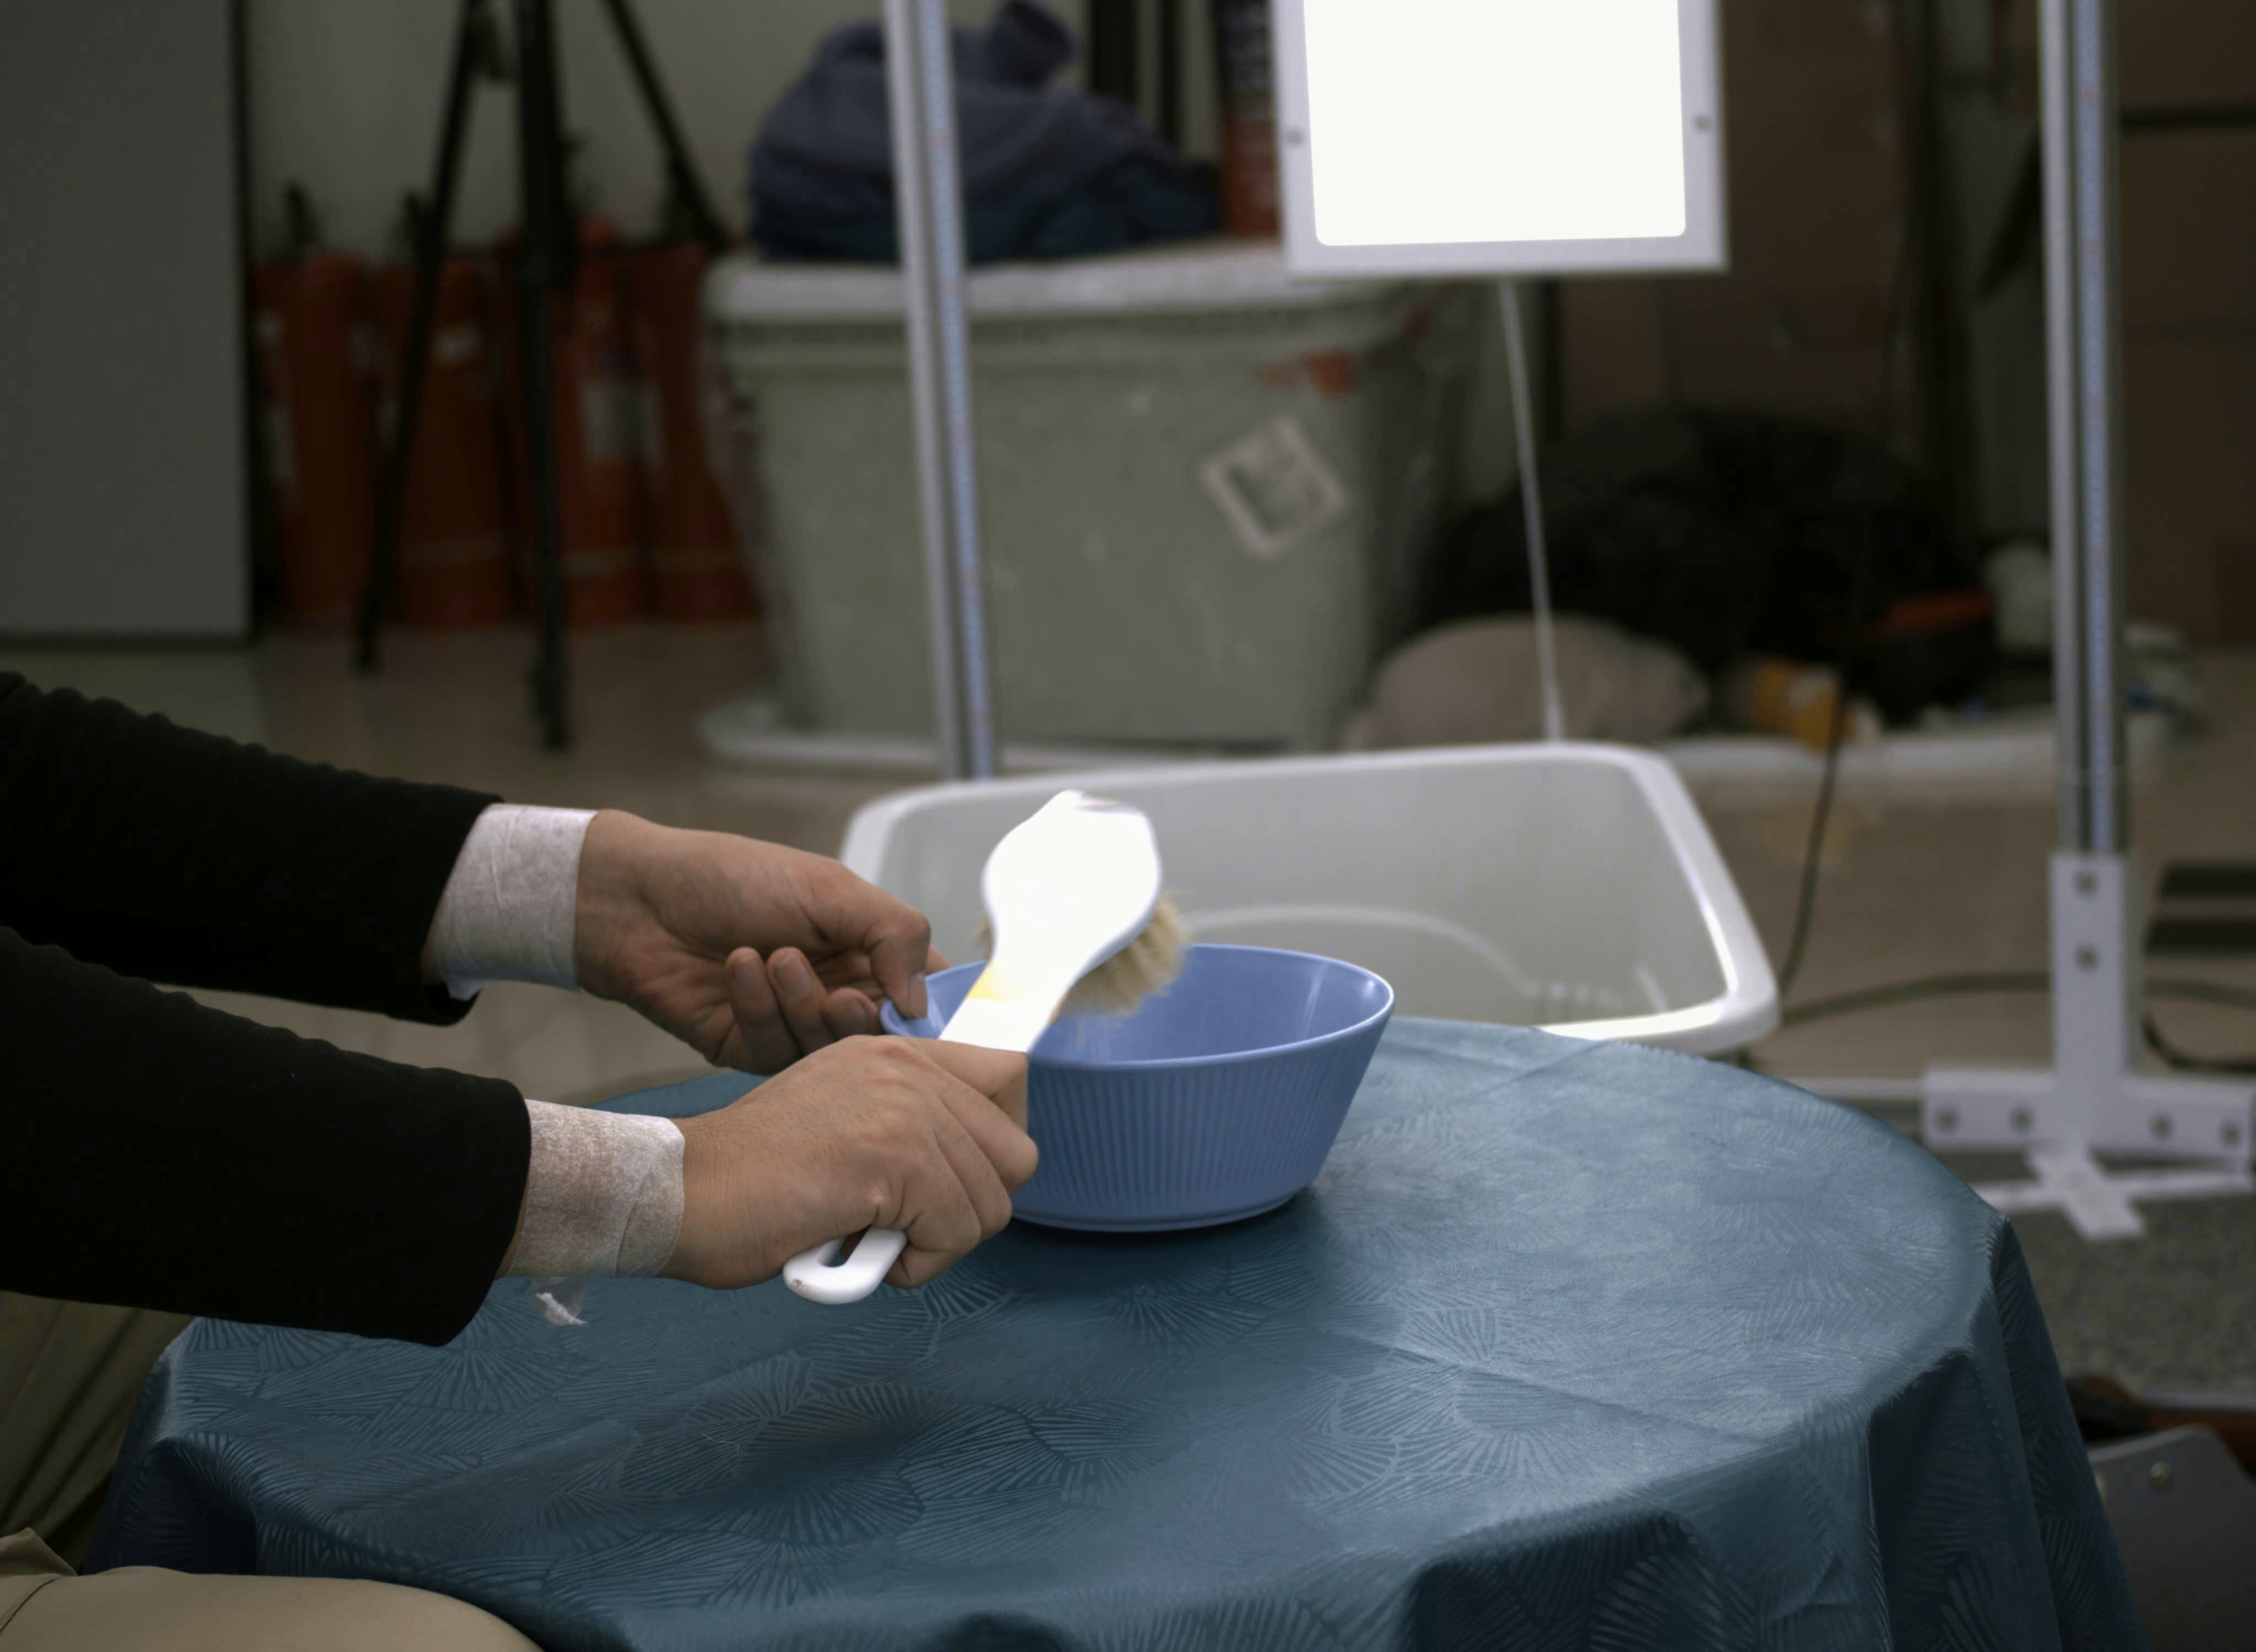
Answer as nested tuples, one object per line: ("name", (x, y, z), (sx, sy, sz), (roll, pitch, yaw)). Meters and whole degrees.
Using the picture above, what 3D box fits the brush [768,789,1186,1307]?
("brush", (-0.052, 0.082, 1.742), (0.069, 0.056, 0.262), (7, 39, 20))

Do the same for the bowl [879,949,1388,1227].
("bowl", (0.003, 0.091, 1.879), (0.175, 0.070, 0.176), (-3, 10, -1))
